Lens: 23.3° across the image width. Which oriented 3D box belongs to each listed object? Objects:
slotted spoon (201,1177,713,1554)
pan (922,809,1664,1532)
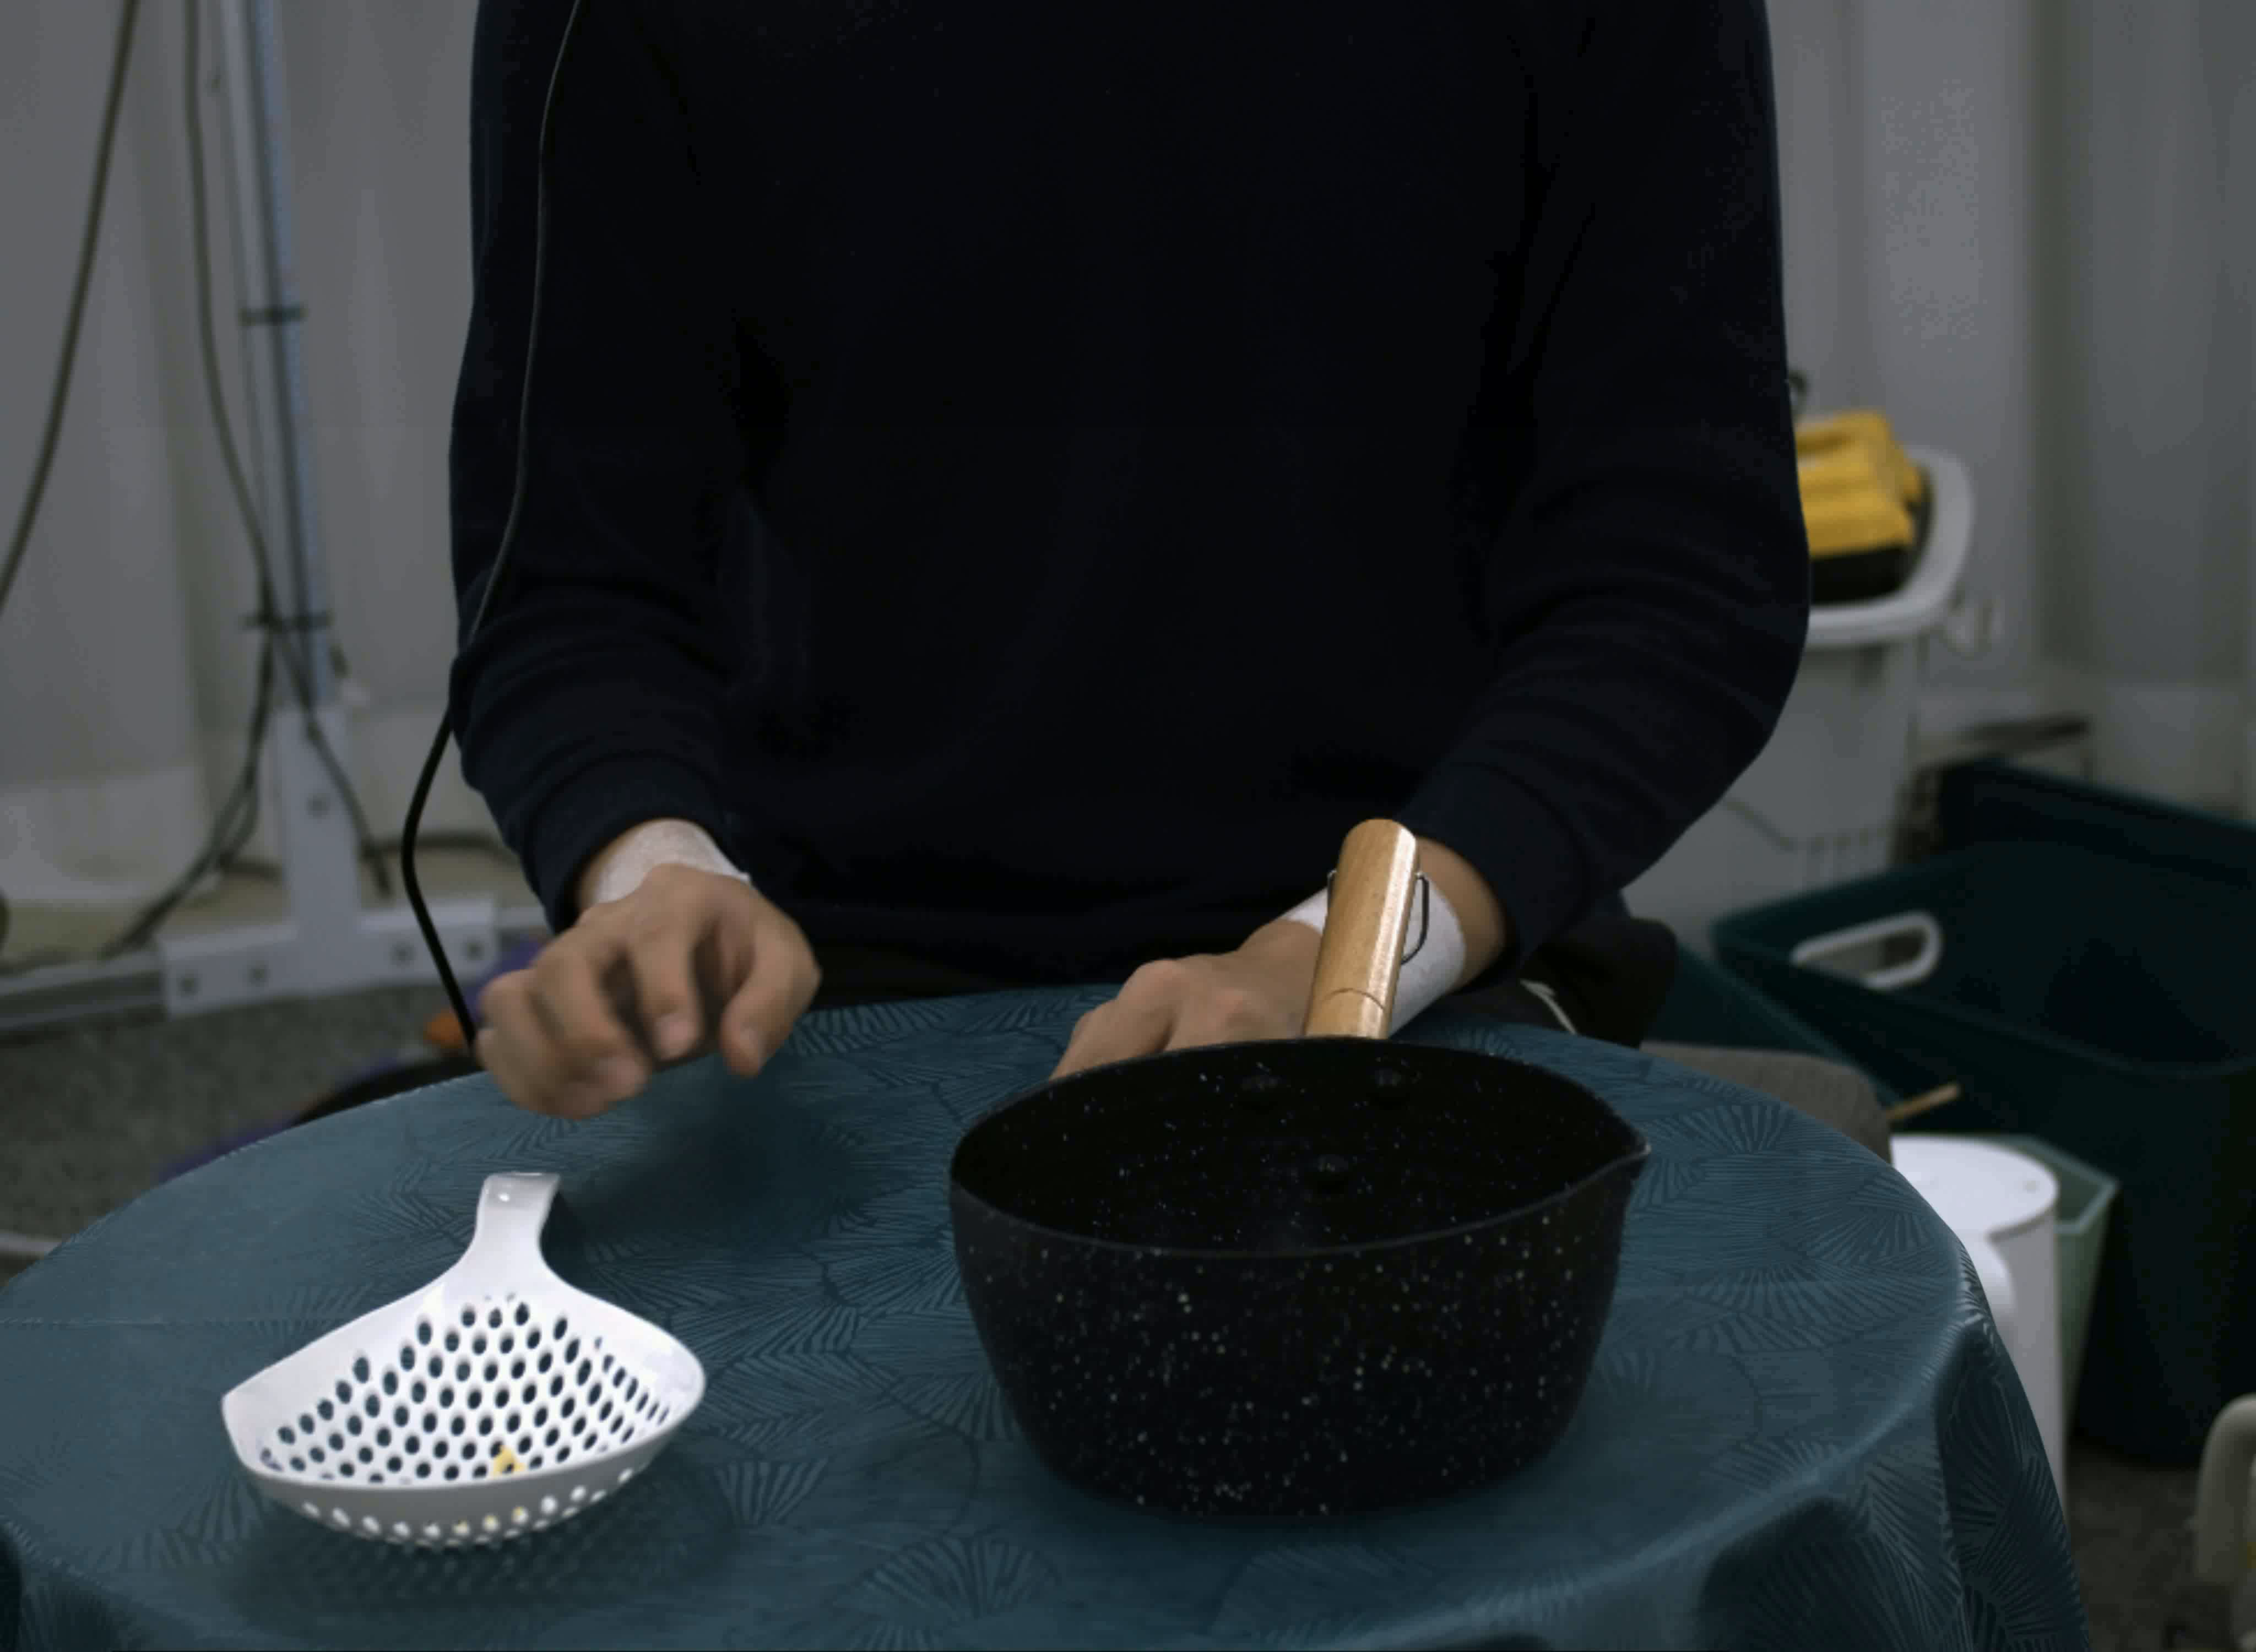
[{"bbox_3d":[-0.184,0.140,1.574,0.136,0.050,0.350,-5,17,-2],"label":"slotted spoon"},{"bbox_3d":[0.055,0.094,1.576,0.207,0.108,0.345,-2,16,9],"label":"pan"}]
